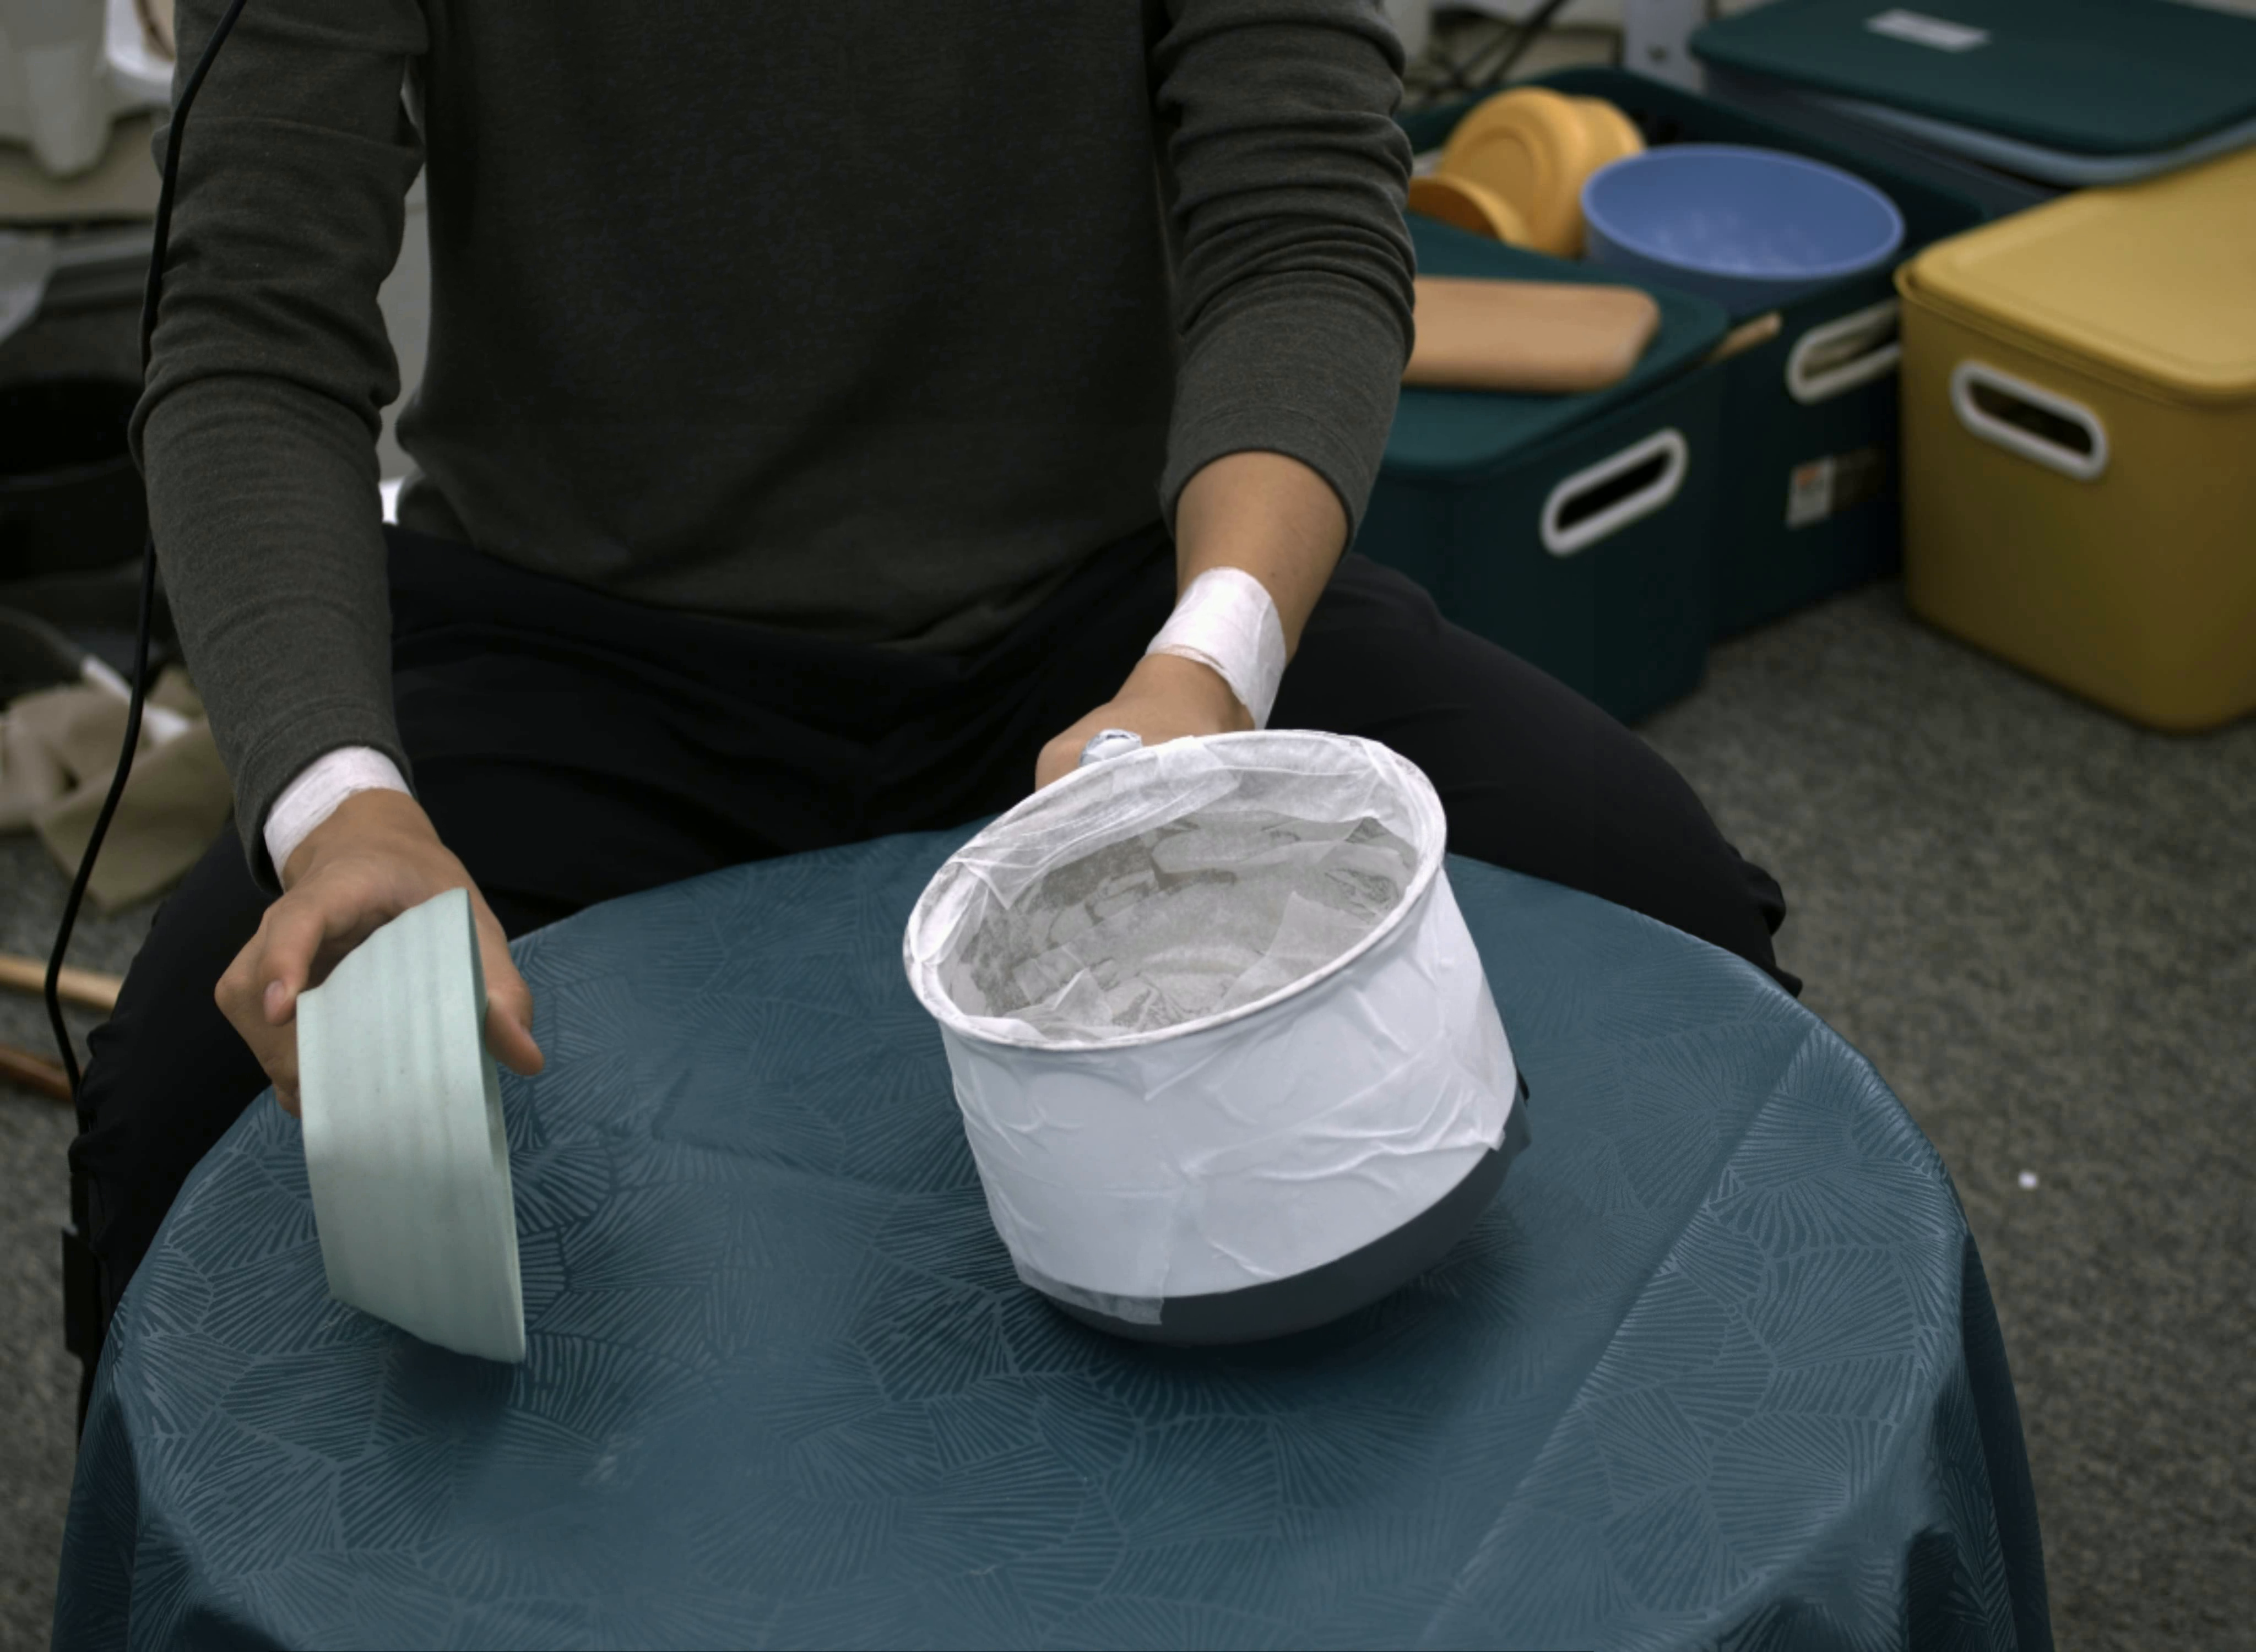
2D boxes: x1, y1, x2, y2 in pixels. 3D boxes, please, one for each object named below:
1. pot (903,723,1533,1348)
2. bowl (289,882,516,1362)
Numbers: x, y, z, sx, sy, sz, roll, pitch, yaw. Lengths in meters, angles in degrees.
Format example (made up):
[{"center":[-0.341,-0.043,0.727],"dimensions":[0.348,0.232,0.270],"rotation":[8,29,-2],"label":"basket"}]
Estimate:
[{"center":[0.024,0.057,1.814],"dimensions":[0.178,0.135,0.236],"rotation":[-19,29,-5],"label":"pot"},{"center":[-0.229,0.096,1.762],"dimensions":[0.058,0.150,0.153],"rotation":[-6,27,-4],"label":"bowl"}]
